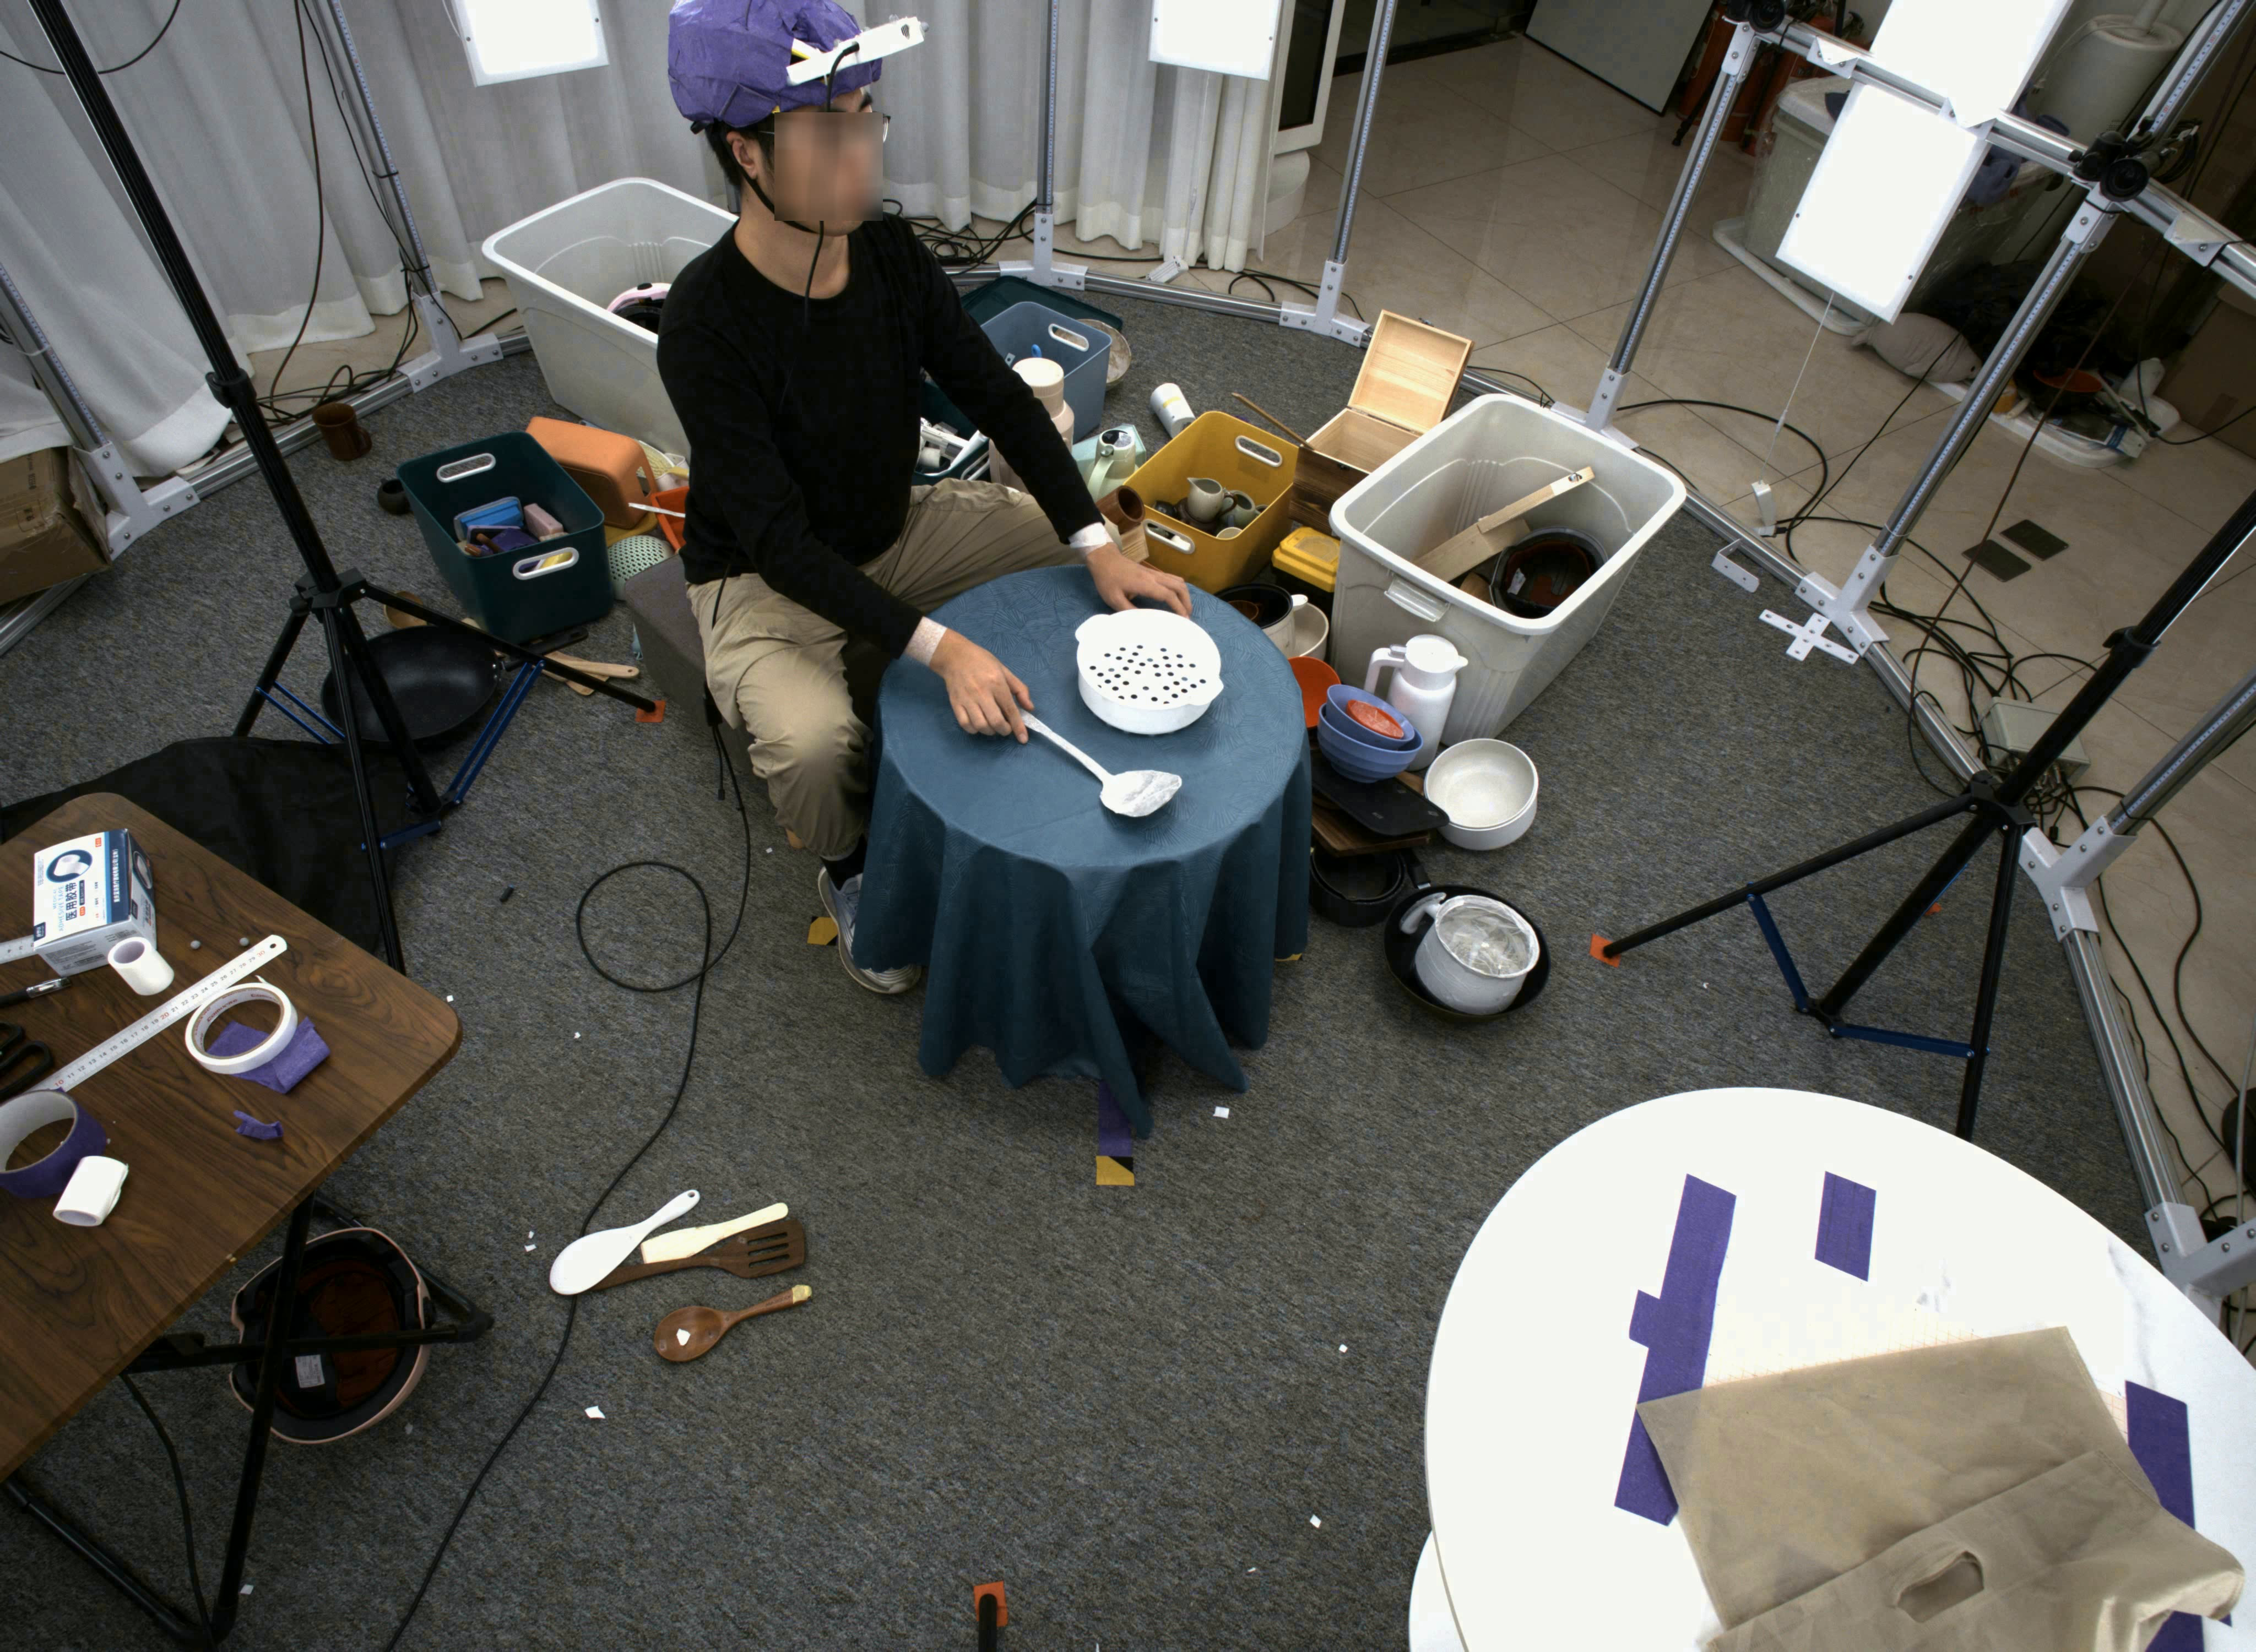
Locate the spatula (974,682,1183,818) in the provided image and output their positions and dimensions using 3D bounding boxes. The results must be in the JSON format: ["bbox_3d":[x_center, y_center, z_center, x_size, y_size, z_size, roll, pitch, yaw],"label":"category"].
[{"bbox_3d":[-0.086,-0.116,1.741,0.370,0.044,0.100,35,58,24],"label":"spatula"}]

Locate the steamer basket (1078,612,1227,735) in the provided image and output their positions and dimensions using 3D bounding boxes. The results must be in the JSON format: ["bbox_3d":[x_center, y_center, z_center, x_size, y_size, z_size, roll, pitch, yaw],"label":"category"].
[{"bbox_3d":[0.031,-0.215,1.813,0.233,0.067,0.204,31,53,22],"label":"steamer basket"}]
